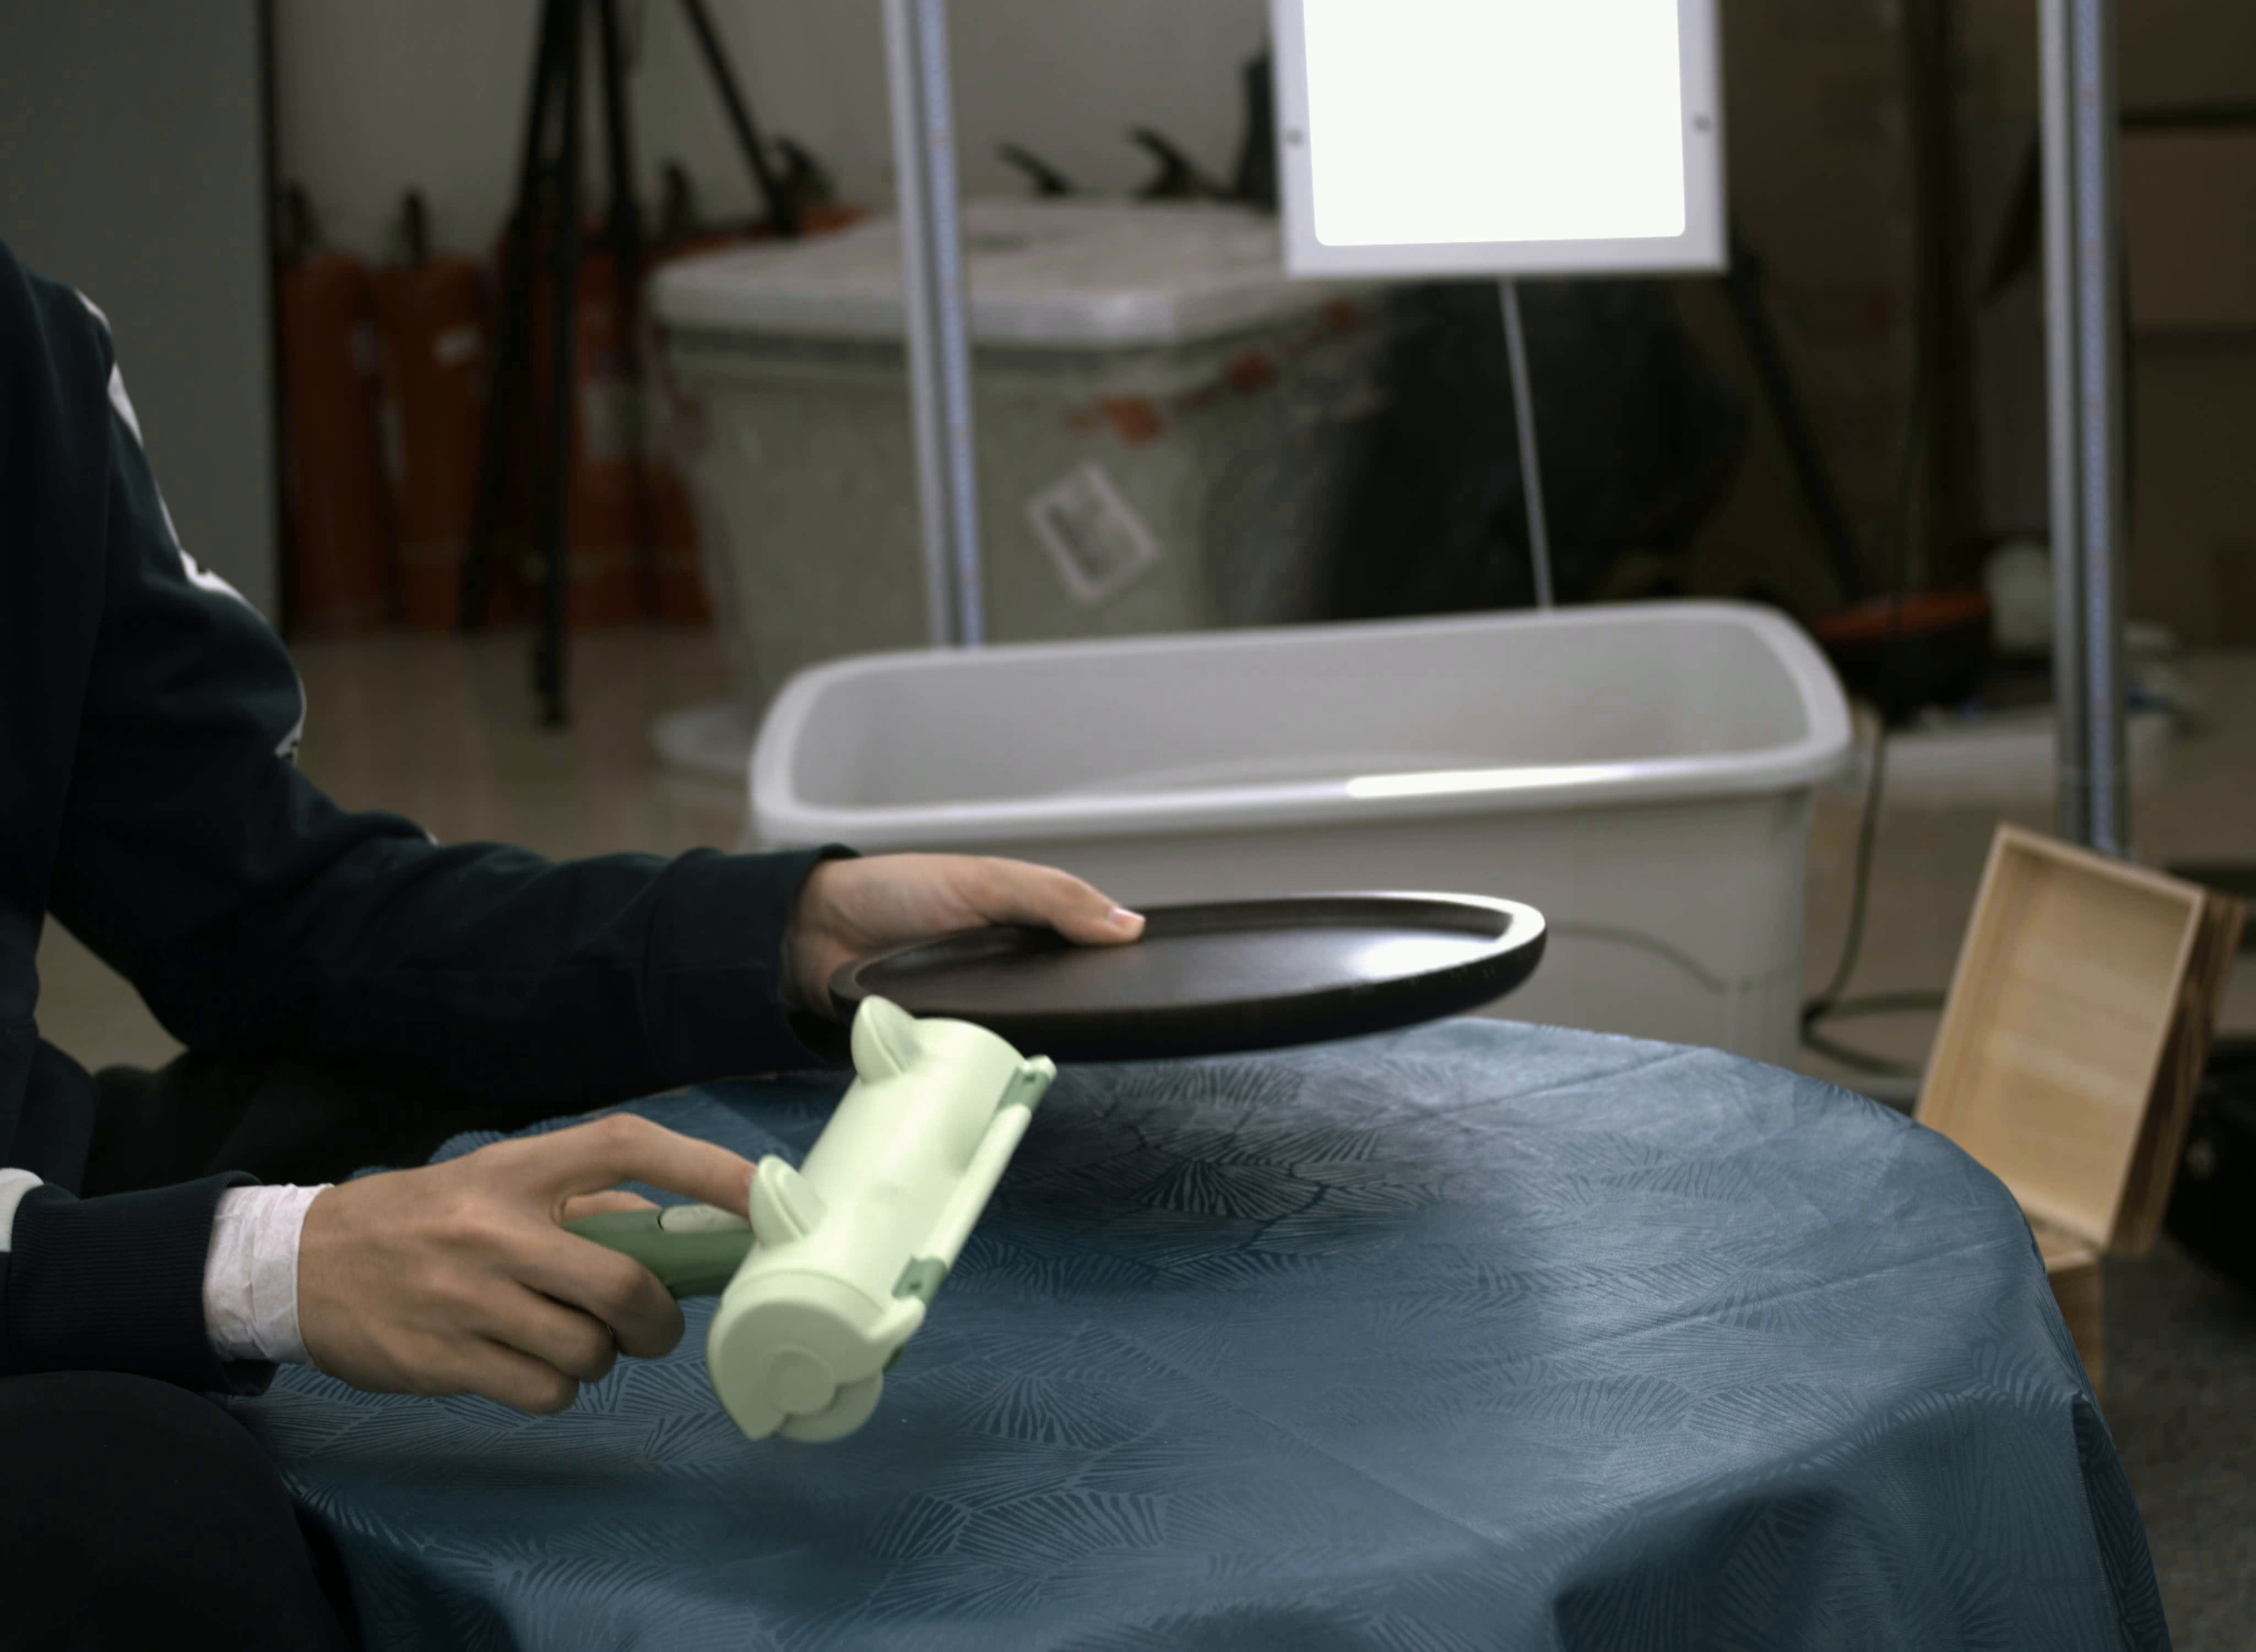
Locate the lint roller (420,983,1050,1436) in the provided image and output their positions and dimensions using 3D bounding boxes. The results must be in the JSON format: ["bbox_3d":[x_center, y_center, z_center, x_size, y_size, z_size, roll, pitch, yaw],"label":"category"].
[{"bbox_3d":[-0.130,0.110,1.644,0.185,0.082,0.196,-3,21,15],"label":"lint roller"}]

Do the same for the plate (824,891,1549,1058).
[{"bbox_3d":[0.021,0.049,1.909,0.254,0.029,0.255,-5,7,-1],"label":"plate"}]
